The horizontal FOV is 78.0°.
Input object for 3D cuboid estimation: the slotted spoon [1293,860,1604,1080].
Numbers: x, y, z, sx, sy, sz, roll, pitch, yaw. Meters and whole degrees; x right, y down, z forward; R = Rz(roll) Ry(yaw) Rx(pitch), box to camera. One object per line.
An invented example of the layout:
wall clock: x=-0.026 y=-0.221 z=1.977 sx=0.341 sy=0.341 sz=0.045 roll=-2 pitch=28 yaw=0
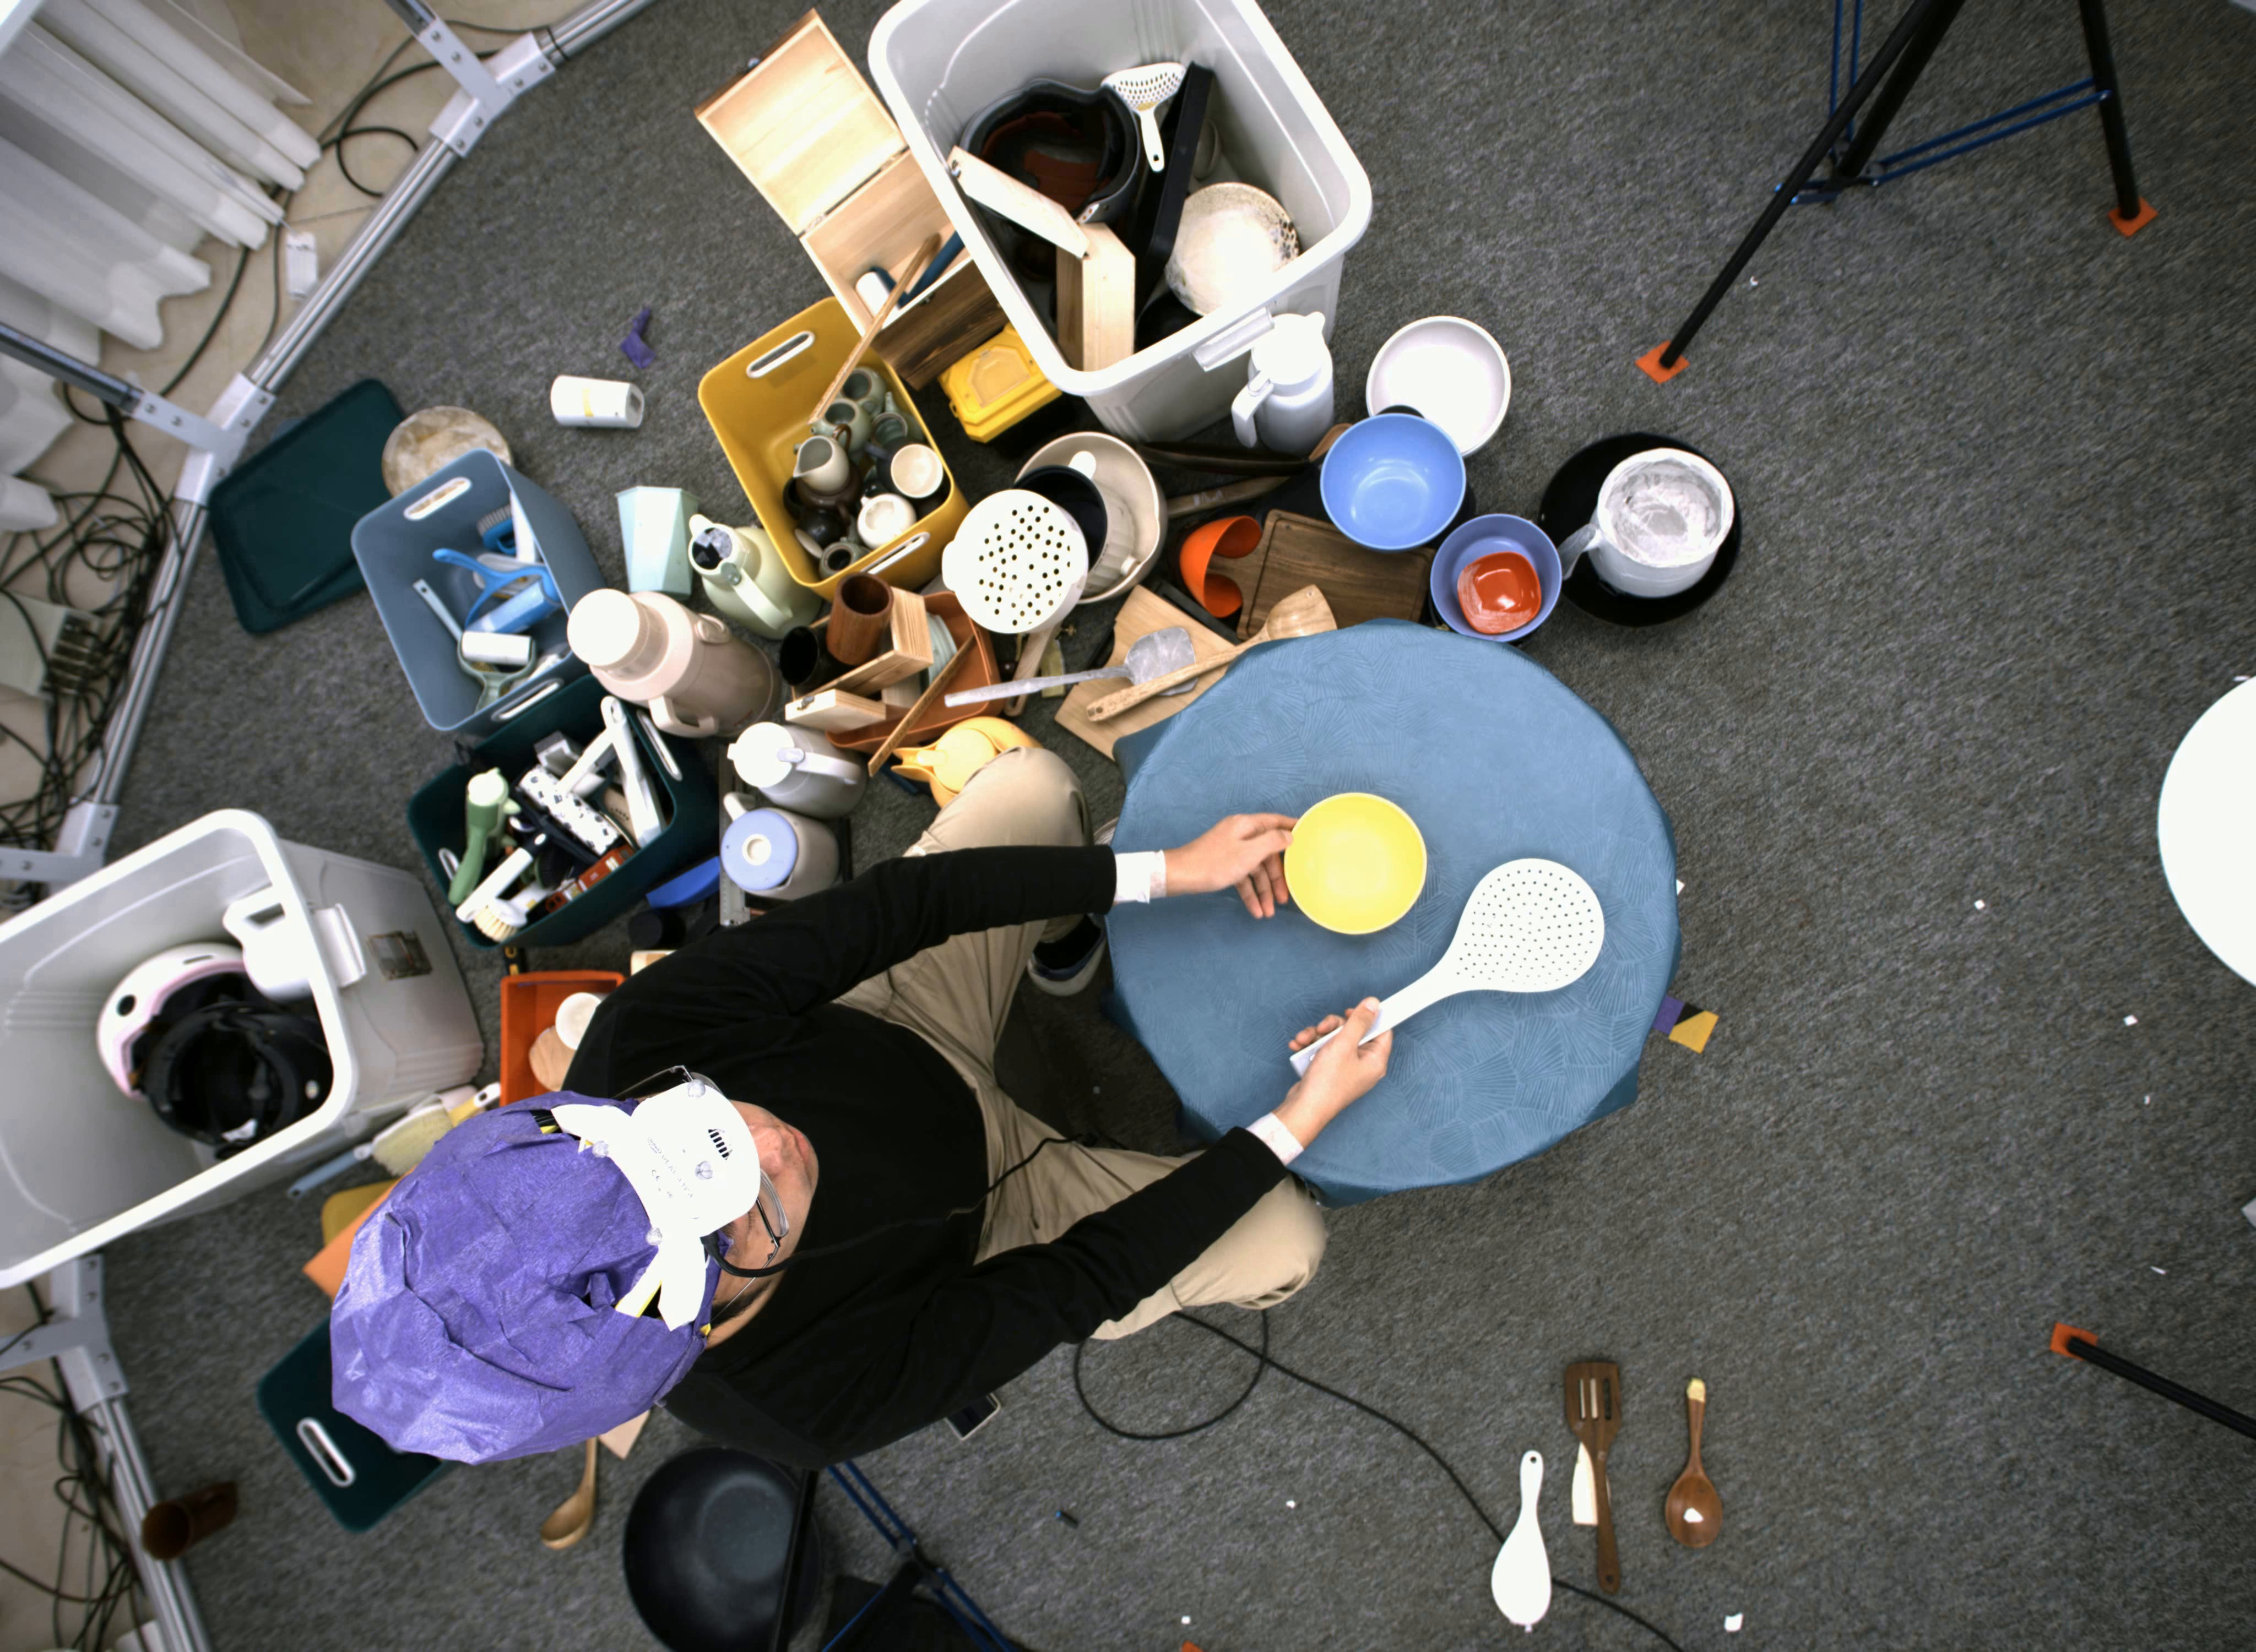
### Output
slotted spoon: x=0.321 y=0.156 z=1.400 sx=0.349 sy=0.046 sz=0.134 roll=-30 pitch=72 yaw=-3

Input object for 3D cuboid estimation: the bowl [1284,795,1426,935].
bowl: x=0.236 y=0.042 z=1.440 sx=0.146 sy=0.060 sz=0.144 roll=-1 pitch=84 yaw=10
